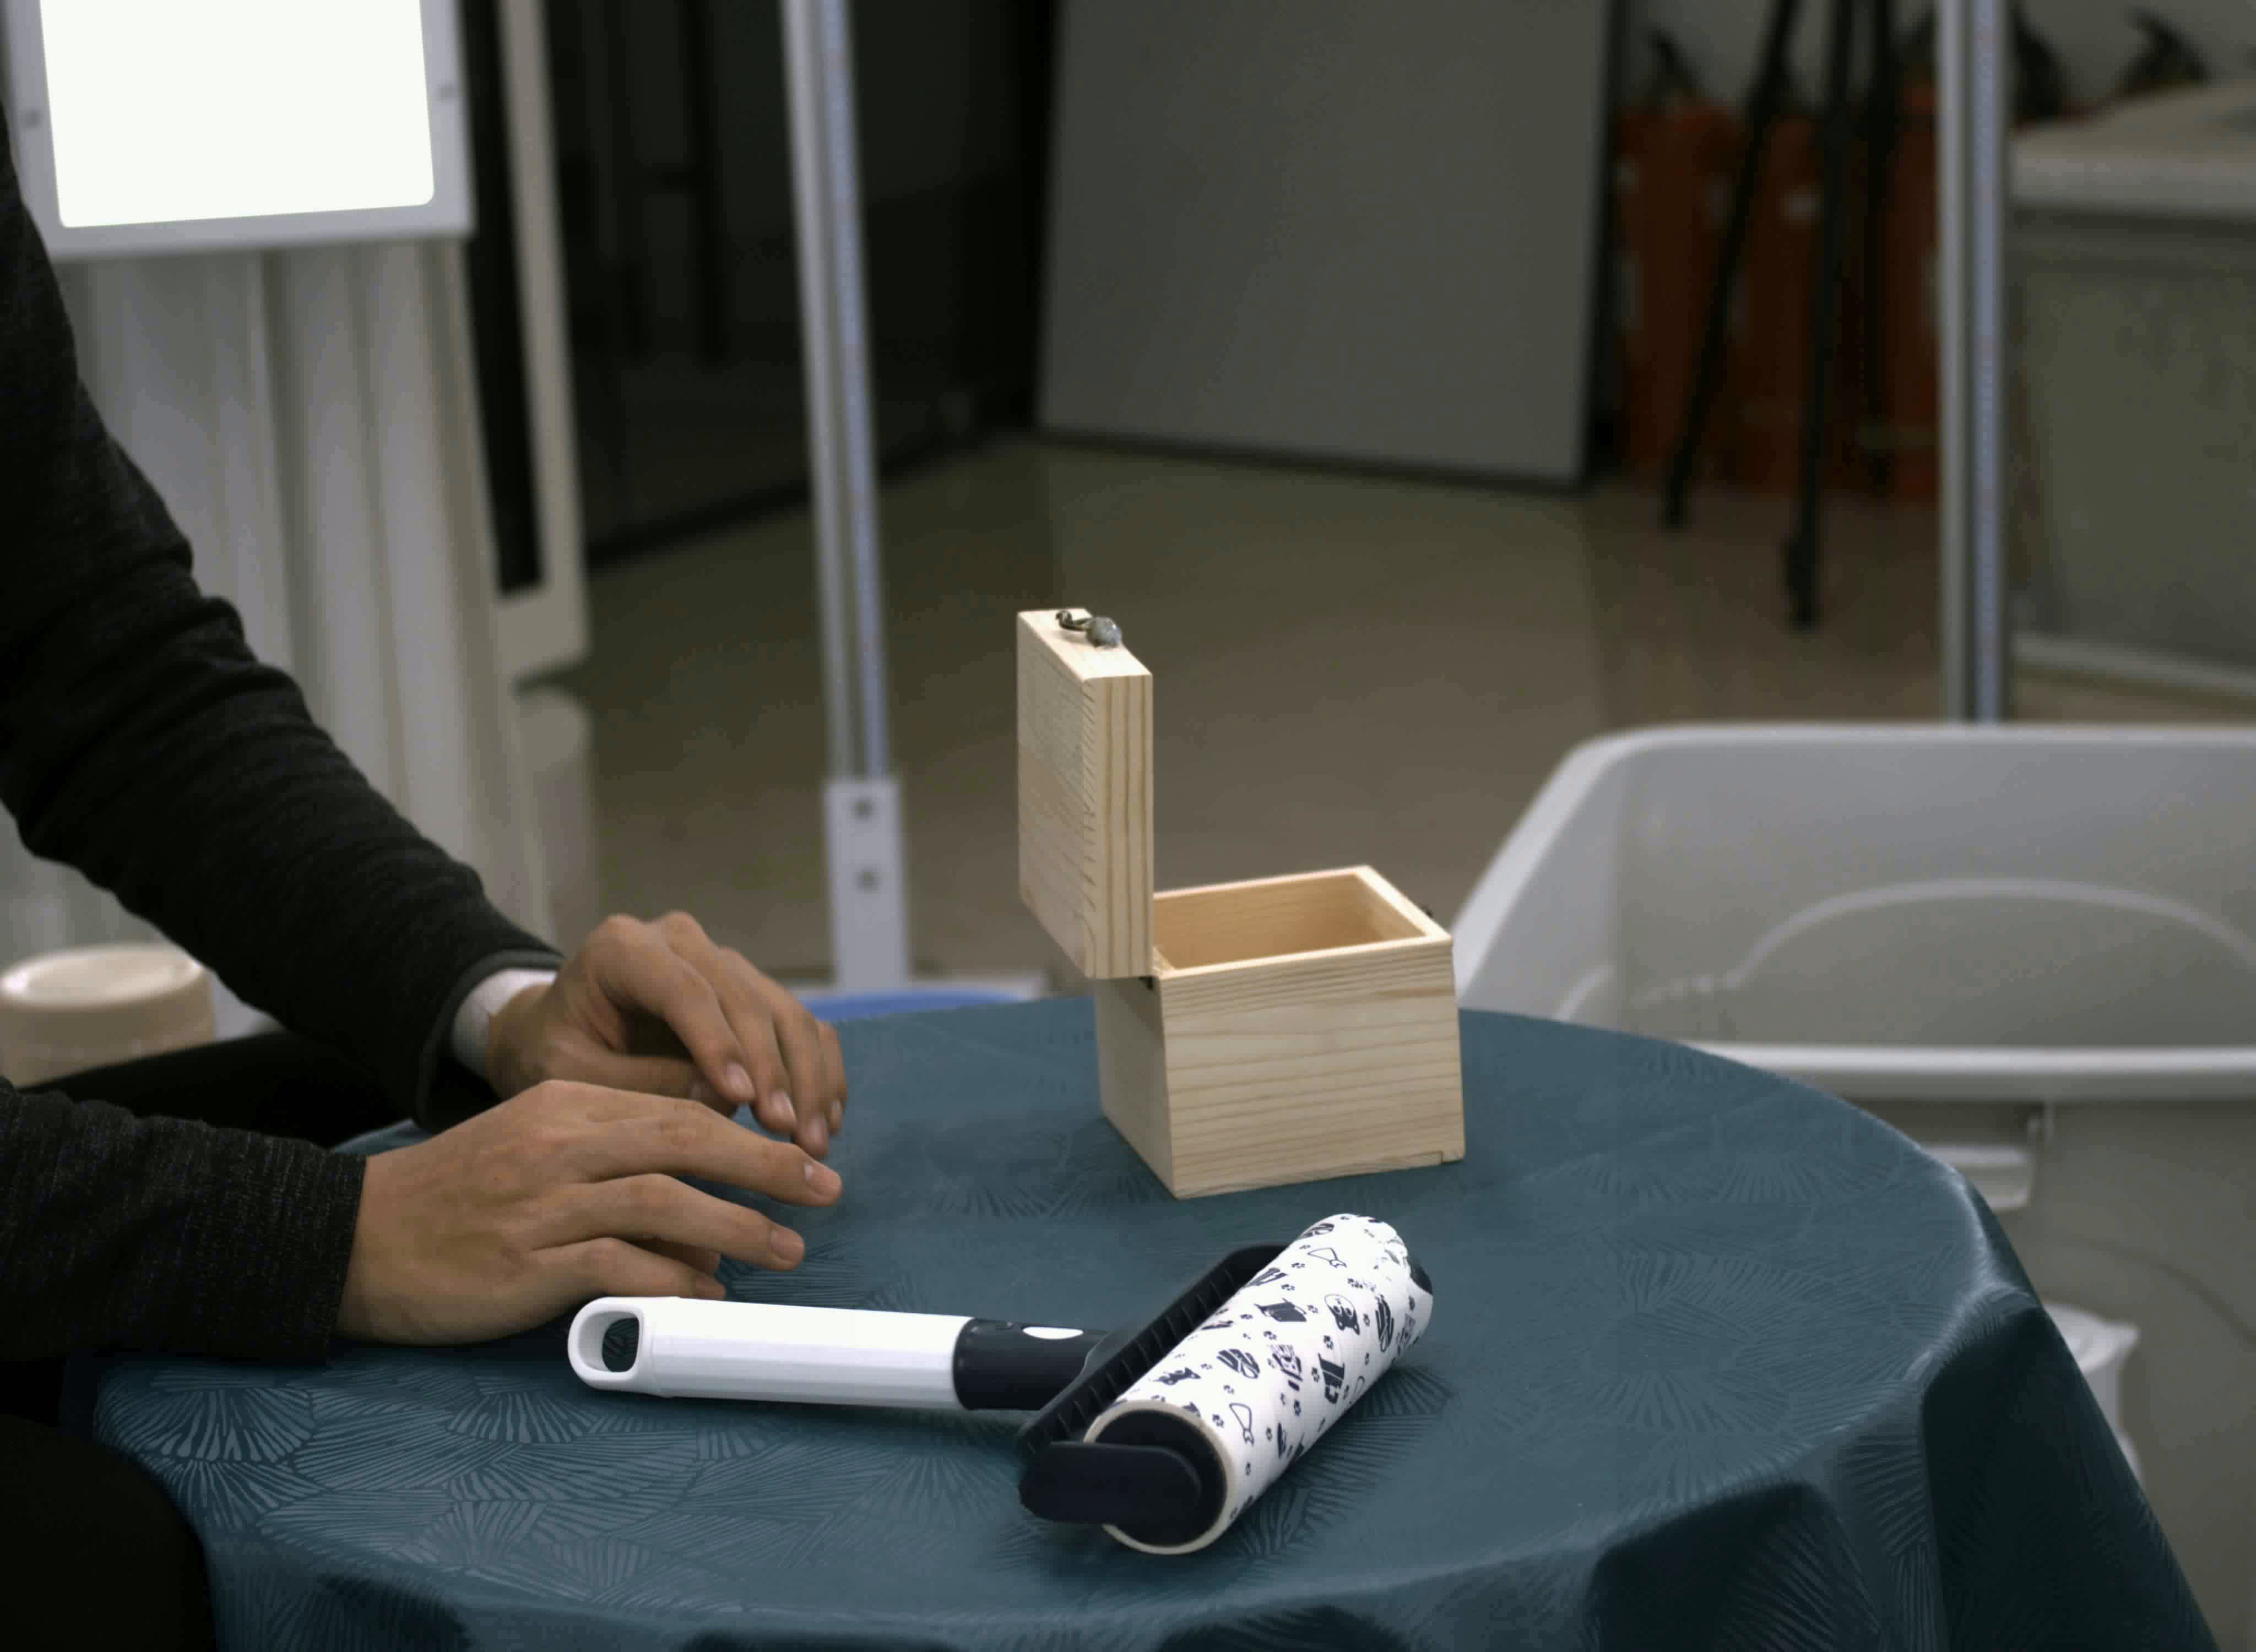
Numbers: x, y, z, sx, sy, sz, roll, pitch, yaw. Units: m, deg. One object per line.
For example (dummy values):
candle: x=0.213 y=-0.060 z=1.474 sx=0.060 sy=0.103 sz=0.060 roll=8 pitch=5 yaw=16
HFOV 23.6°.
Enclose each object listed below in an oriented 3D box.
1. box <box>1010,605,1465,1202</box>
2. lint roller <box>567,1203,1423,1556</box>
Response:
box: x=0.037 y=0.018 z=1.791 sx=0.131 sy=0.186 sz=0.103 roll=-7 pitch=13 yaw=-12
lint roller: x=-0.055 y=0.154 z=1.563 sx=0.247 sy=0.051 sz=0.174 roll=1 pitch=16 yaw=24
